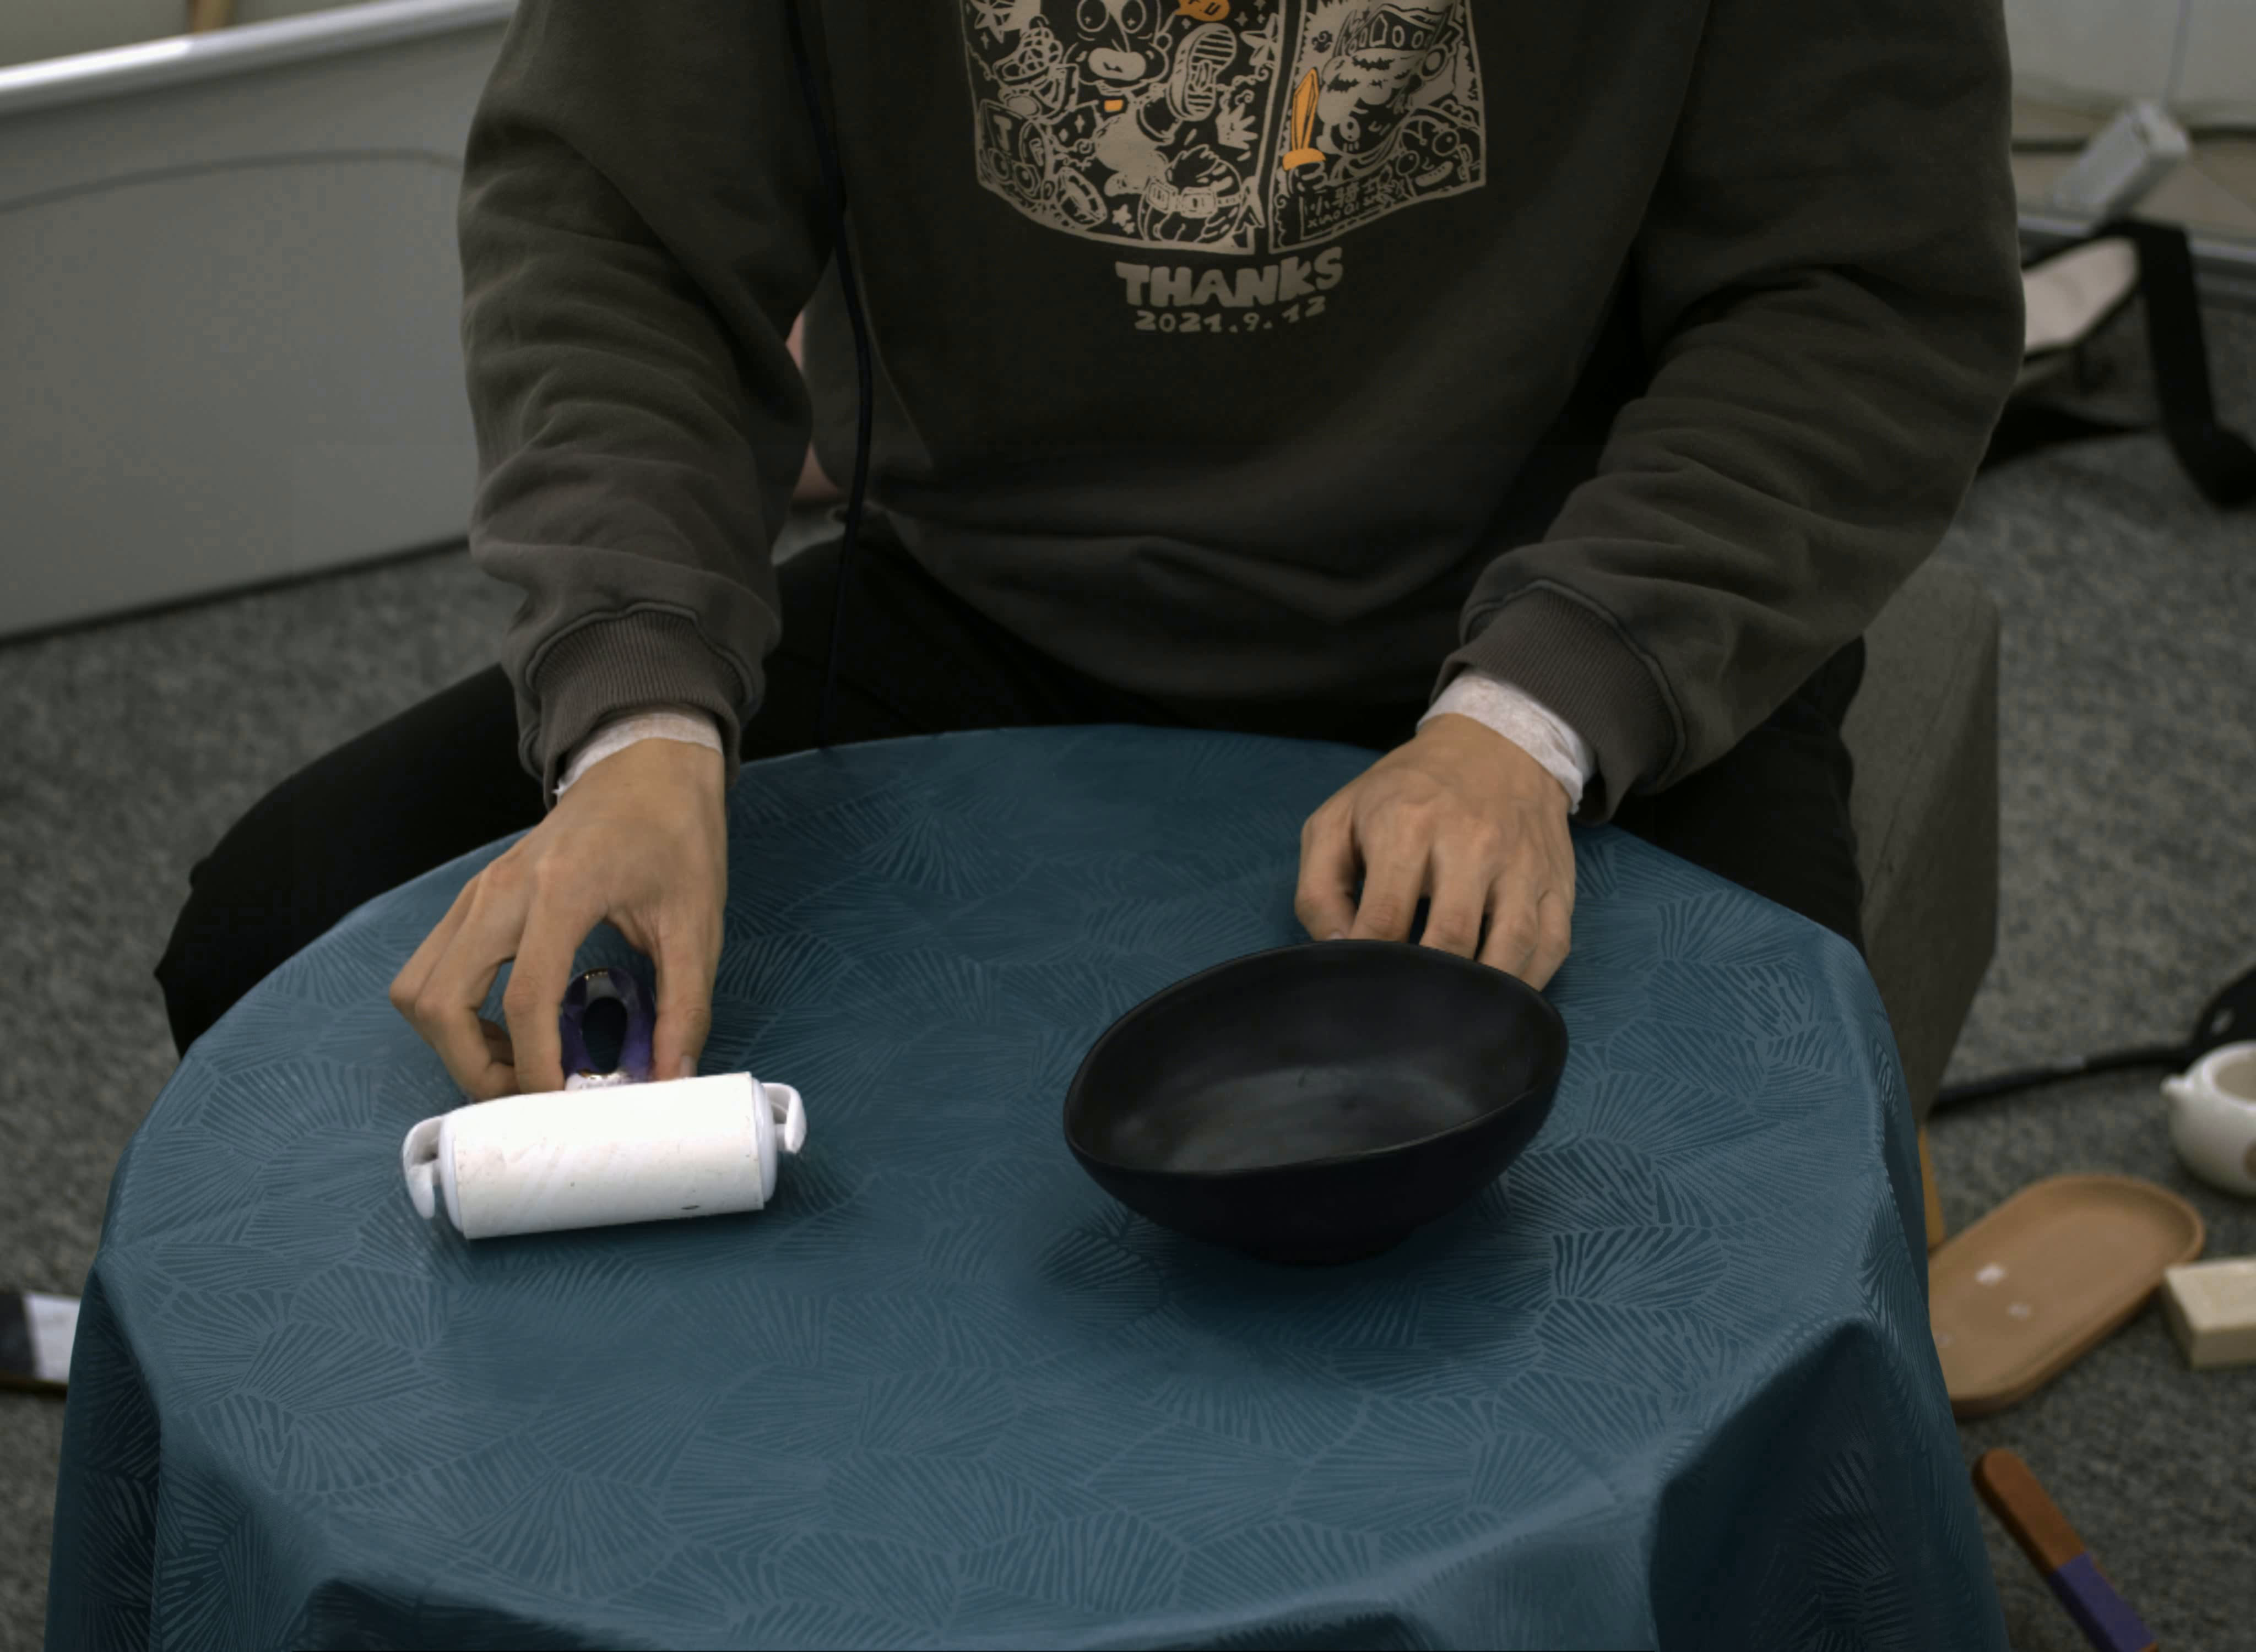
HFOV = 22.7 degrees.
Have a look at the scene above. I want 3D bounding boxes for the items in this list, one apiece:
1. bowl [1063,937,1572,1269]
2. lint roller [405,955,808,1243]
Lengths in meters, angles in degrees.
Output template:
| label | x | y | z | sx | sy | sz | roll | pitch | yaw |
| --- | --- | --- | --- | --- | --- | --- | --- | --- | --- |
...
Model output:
| label | x | y | z | sx | sy | sz | roll | pitch | yaw |
| --- | --- | --- | --- | --- | --- | --- | --- | --- | --- |
| bowl | 0.064 | 0.100 | 1.828 | 0.171 | 0.066 | 0.138 | -14 | 28 | -17 |
| lint roller | -0.176 | 0.078 | 1.910 | 0.132 | 0.049 | 0.183 | -5 | 30 | -2 |
